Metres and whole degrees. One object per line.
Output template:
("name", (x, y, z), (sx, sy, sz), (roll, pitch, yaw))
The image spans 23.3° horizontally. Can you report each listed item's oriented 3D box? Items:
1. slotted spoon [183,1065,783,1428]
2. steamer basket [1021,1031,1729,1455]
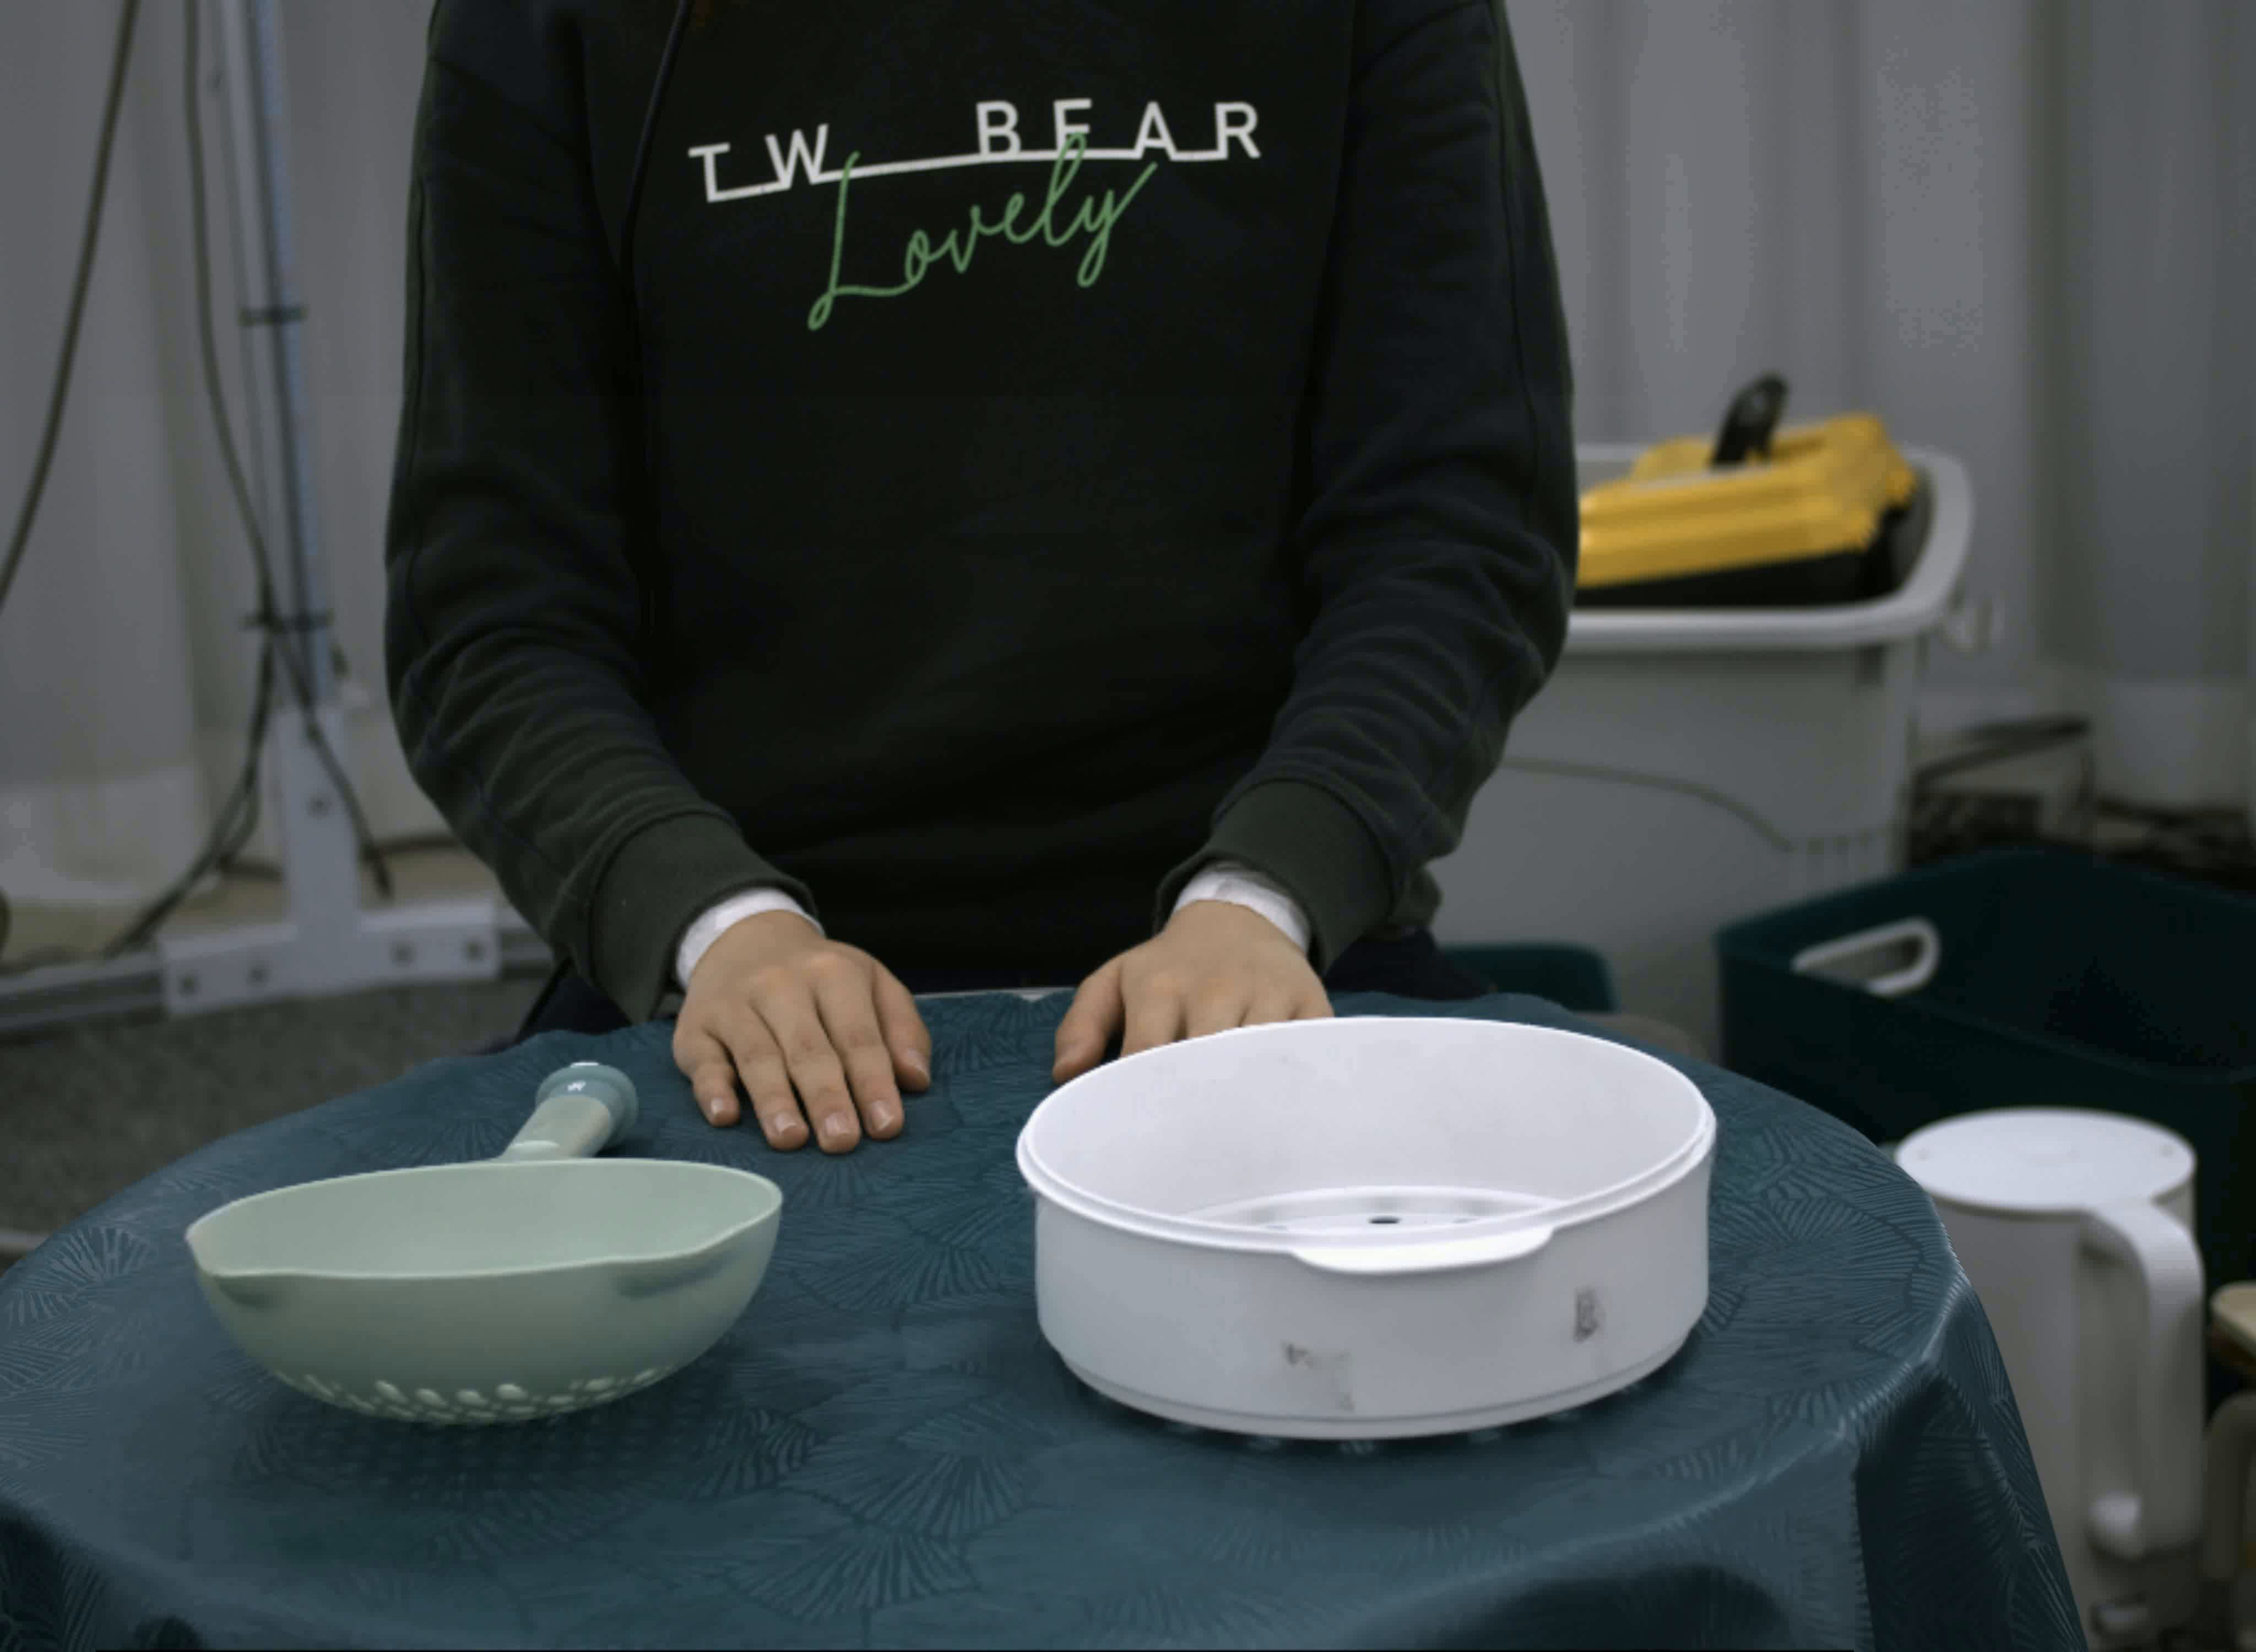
("slotted spoon", (-0.178, 0.110, 1.642), (0.169, 0.075, 0.361), (-2, 15, 2))
("steamer basket", (0.071, 0.118, 1.563), (0.201, 0.069, 0.232), (-4, 15, -7))
